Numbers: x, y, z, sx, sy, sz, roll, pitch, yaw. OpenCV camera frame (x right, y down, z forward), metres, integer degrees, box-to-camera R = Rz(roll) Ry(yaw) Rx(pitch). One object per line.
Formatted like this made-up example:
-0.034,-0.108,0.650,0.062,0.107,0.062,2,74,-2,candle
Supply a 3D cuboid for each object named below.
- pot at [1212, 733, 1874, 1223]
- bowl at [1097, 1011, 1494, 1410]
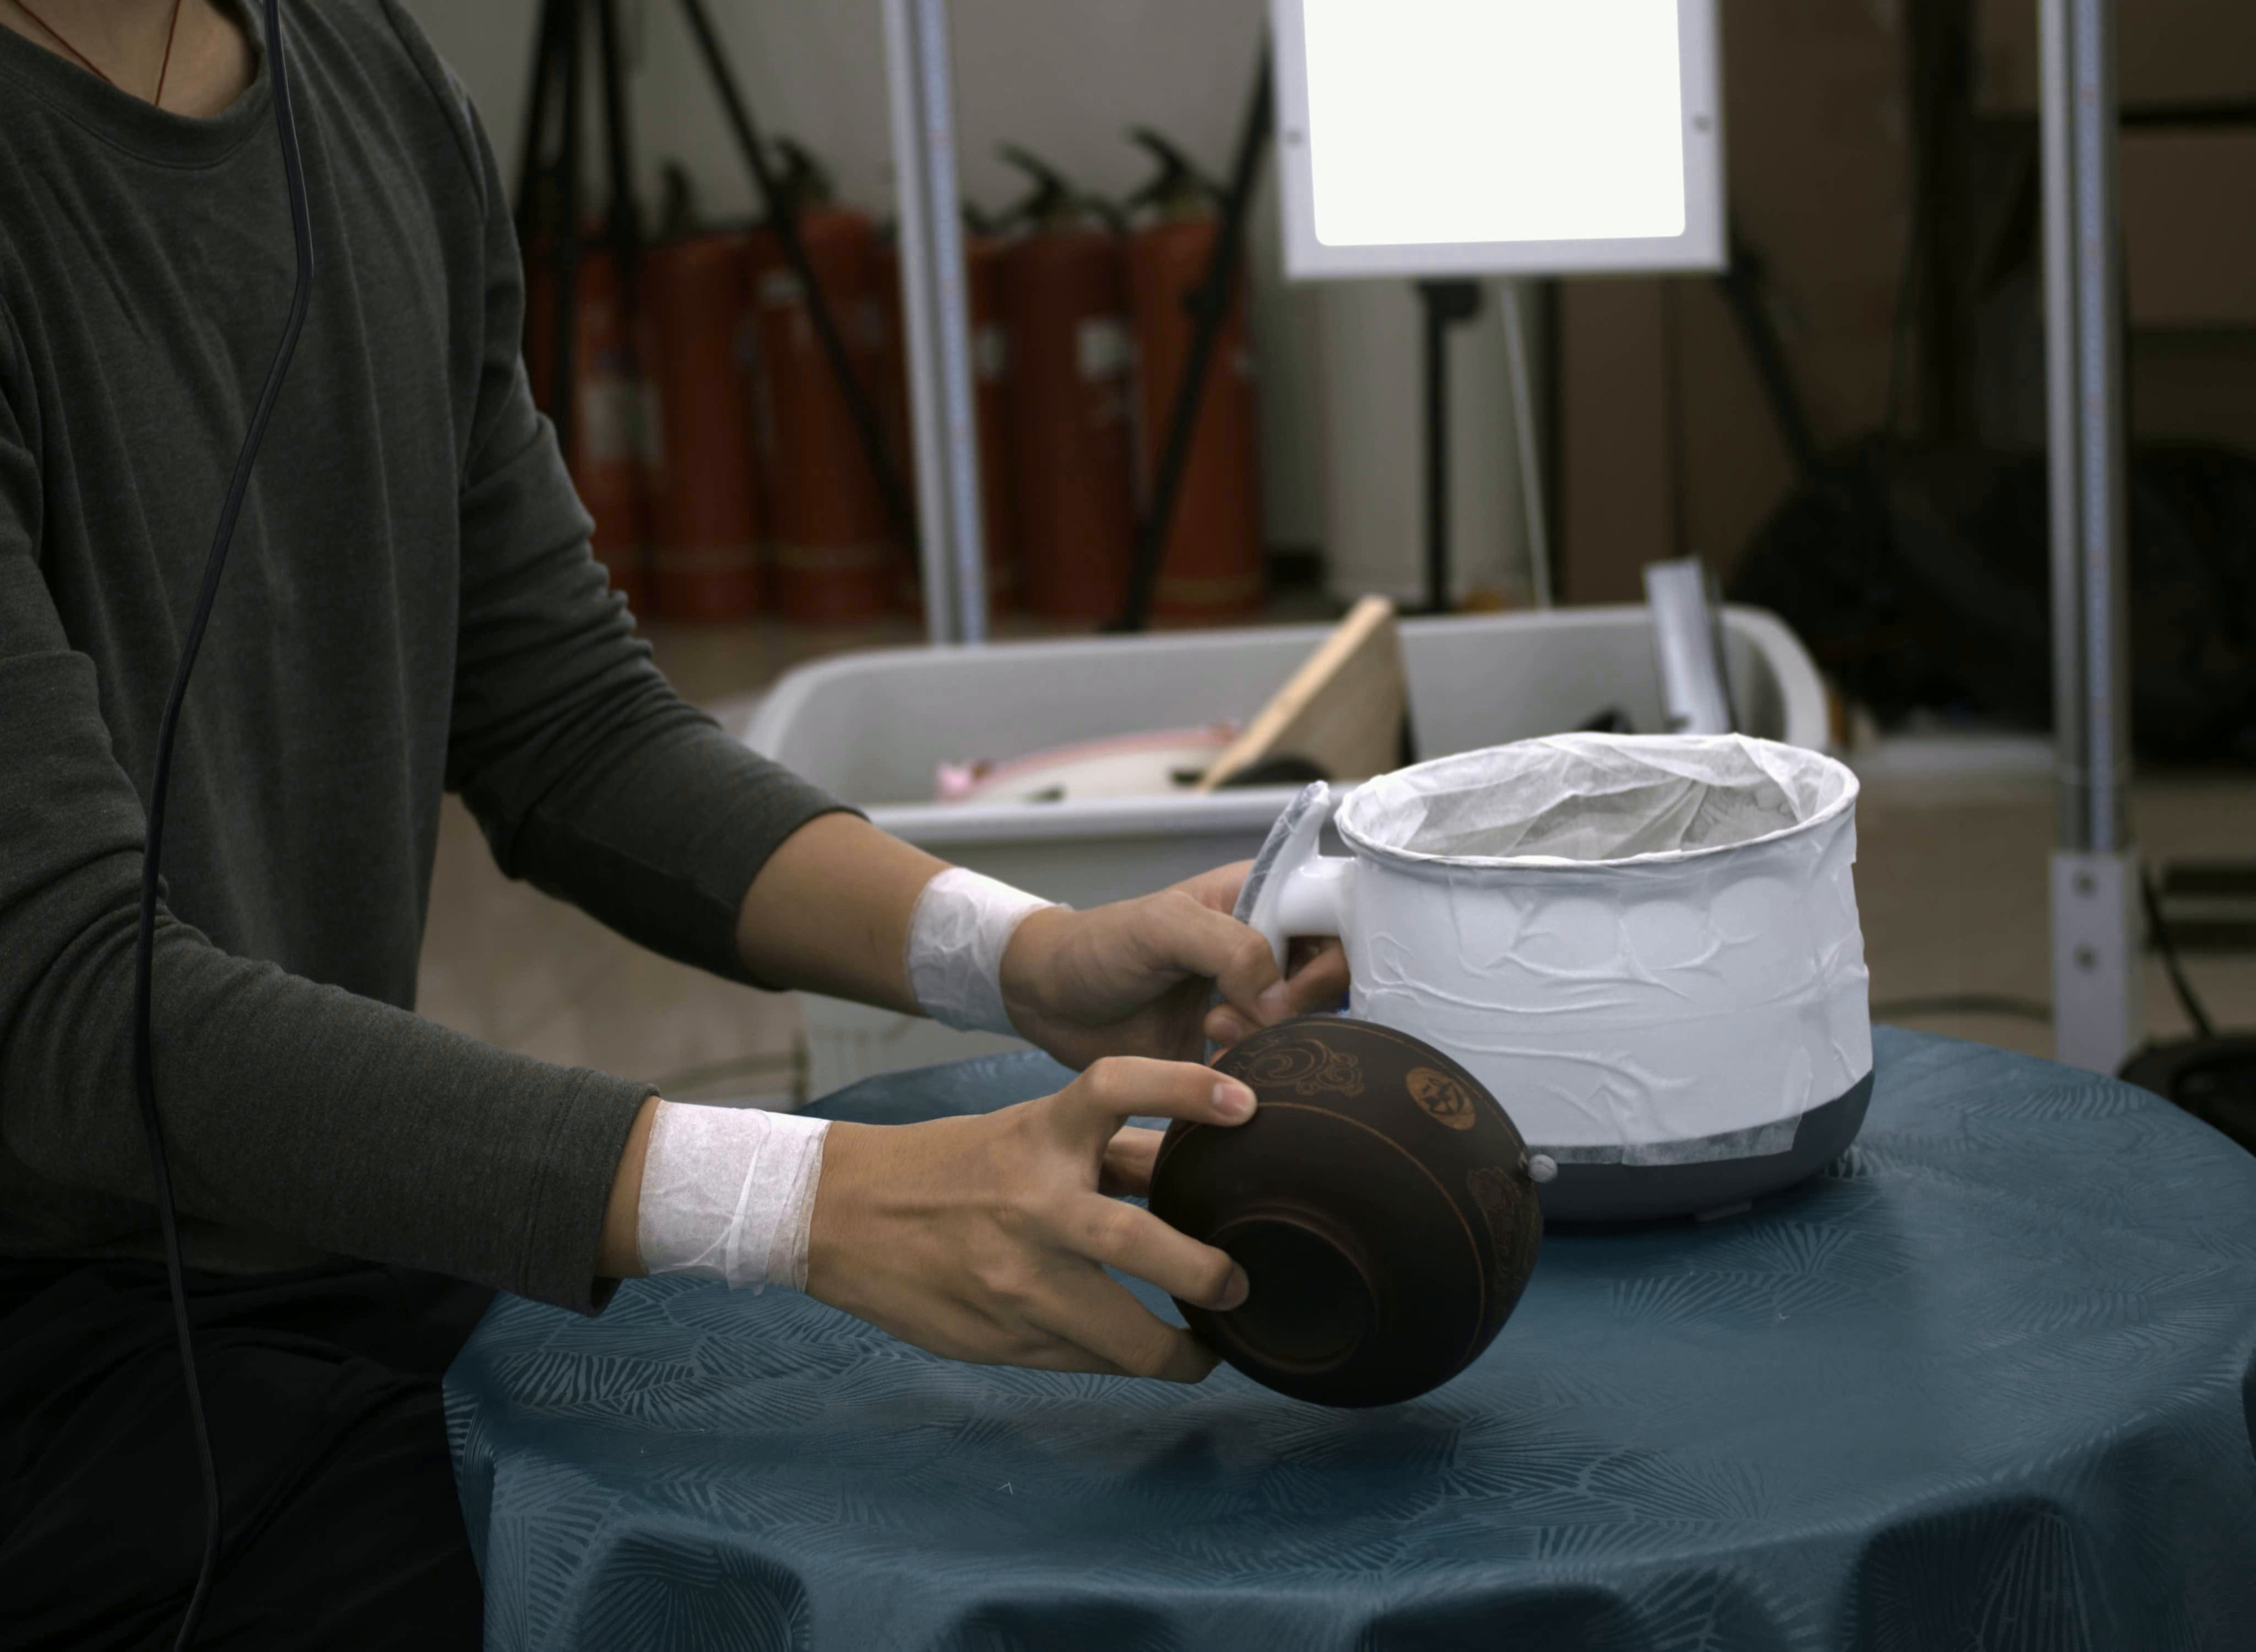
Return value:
0.138,0.052,1.873,0.237,0.137,0.175,-1,14,20,pot
0.045,0.121,1.627,0.119,0.118,0.069,1,25,21,bowl
